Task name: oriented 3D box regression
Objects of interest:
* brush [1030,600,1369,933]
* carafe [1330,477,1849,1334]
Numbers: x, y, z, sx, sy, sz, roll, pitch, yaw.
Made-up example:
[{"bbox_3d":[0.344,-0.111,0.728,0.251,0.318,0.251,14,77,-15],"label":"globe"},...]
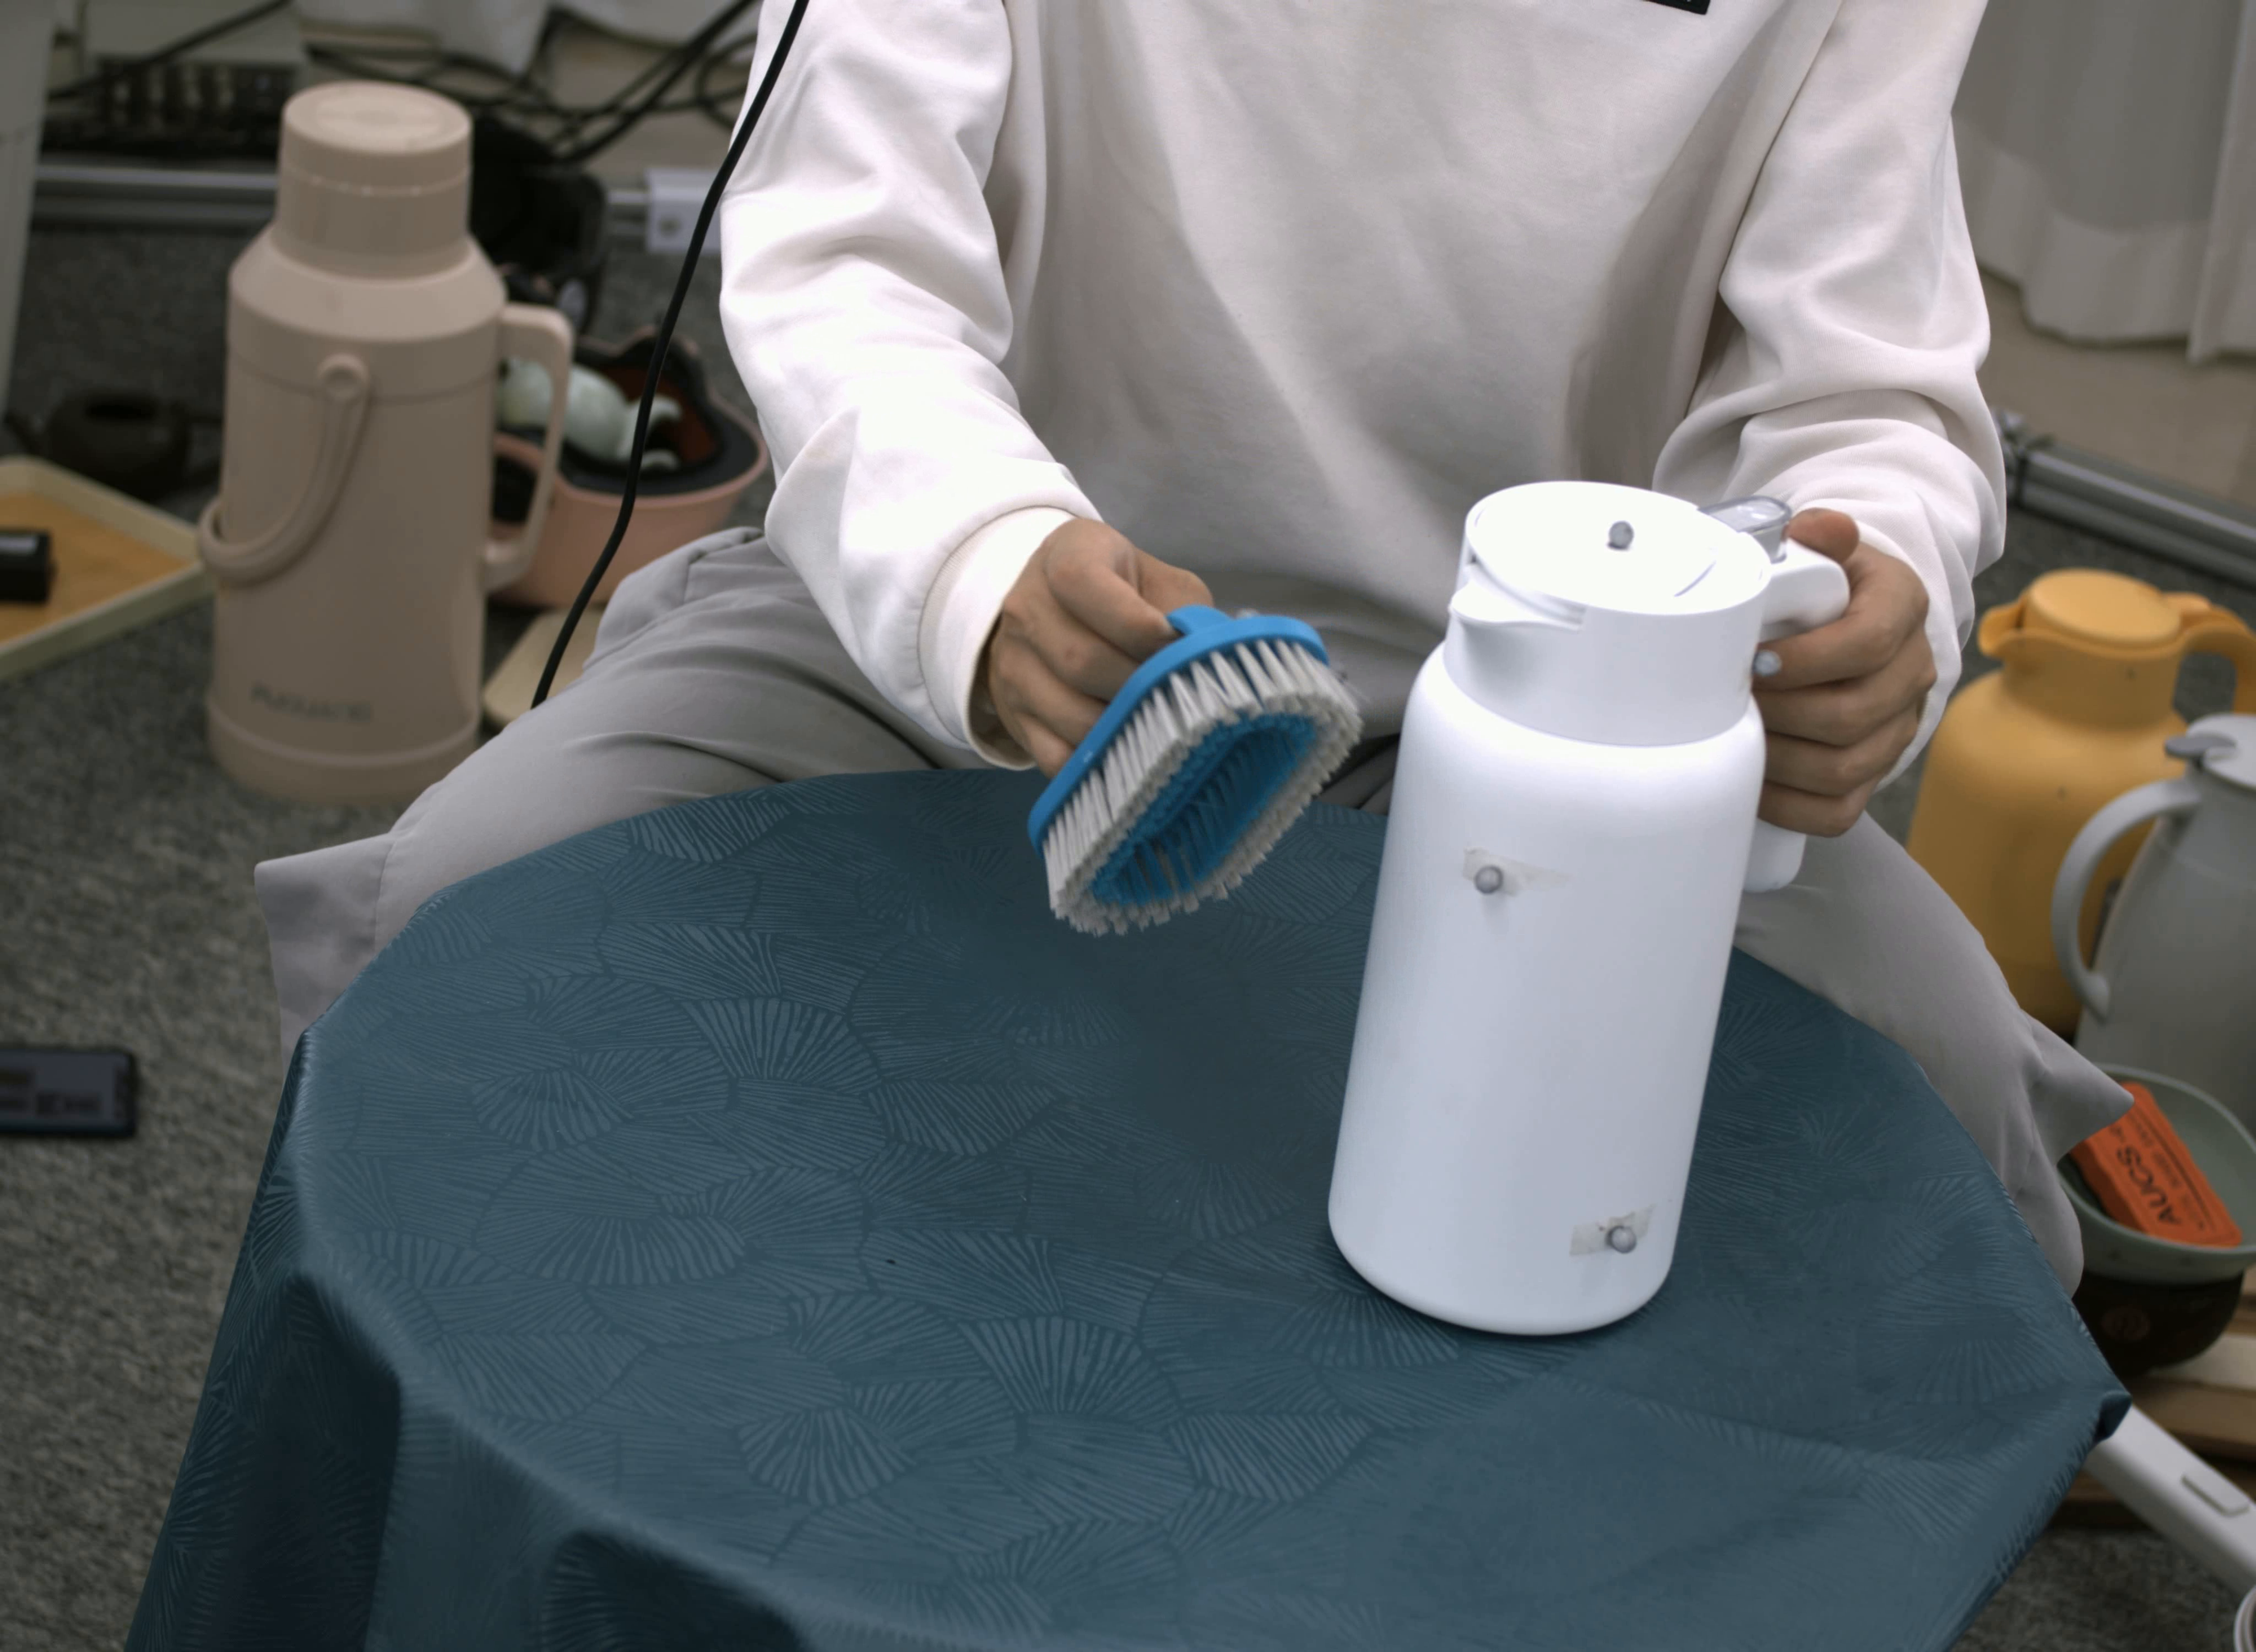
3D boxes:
[{"bbox_3d":[0.016,-0.029,1.748,0.084,0.141,0.064,-7,58,-34],"label":"brush"},{"bbox_3d":[0.152,0.022,1.748,0.172,0.268,0.125,-15,32,-38],"label":"carafe"}]
